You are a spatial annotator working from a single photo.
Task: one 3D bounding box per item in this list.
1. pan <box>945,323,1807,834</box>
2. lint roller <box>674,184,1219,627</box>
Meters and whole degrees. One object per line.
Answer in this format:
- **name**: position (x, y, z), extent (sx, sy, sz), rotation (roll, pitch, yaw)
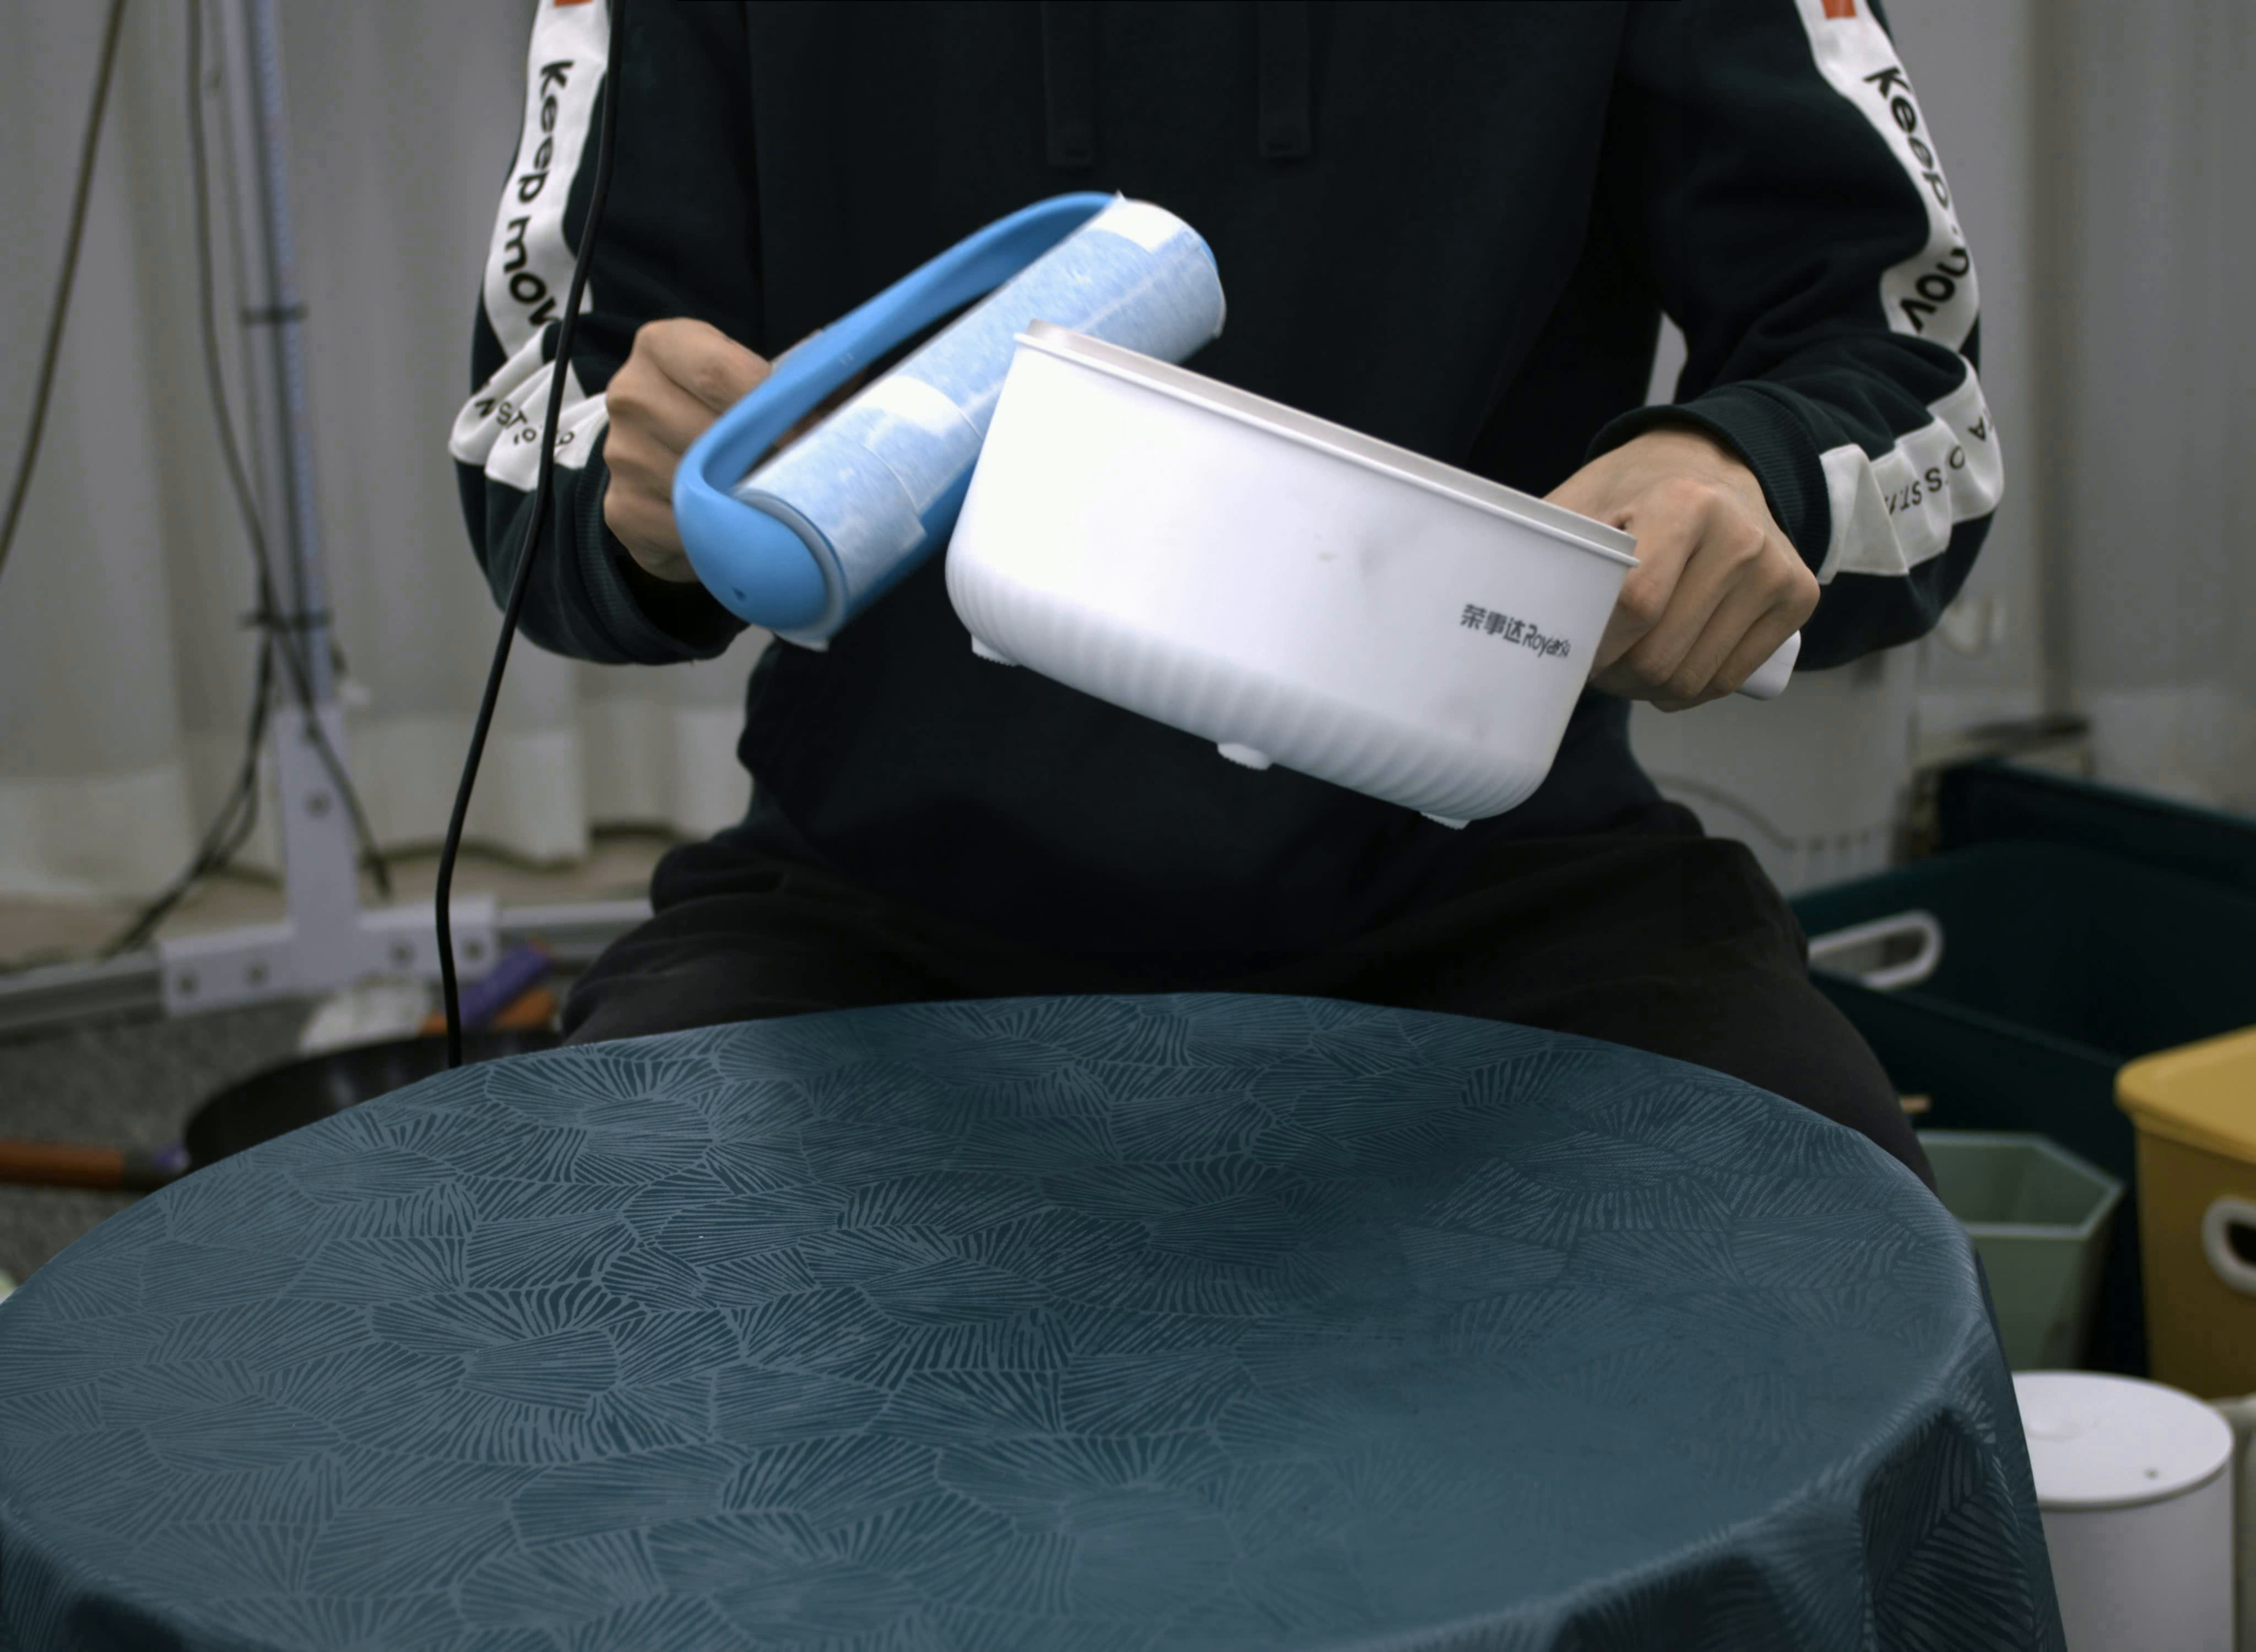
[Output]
- **pan**: position (0.091, -0.057, 1.710), extent (0.203, 0.102, 0.351), rotation (22, 3, 40)
- **lint roller**: position (-0.091, -0.128, 1.753), extent (0.180, 0.067, 0.230), rotation (-8, 27, 44)
